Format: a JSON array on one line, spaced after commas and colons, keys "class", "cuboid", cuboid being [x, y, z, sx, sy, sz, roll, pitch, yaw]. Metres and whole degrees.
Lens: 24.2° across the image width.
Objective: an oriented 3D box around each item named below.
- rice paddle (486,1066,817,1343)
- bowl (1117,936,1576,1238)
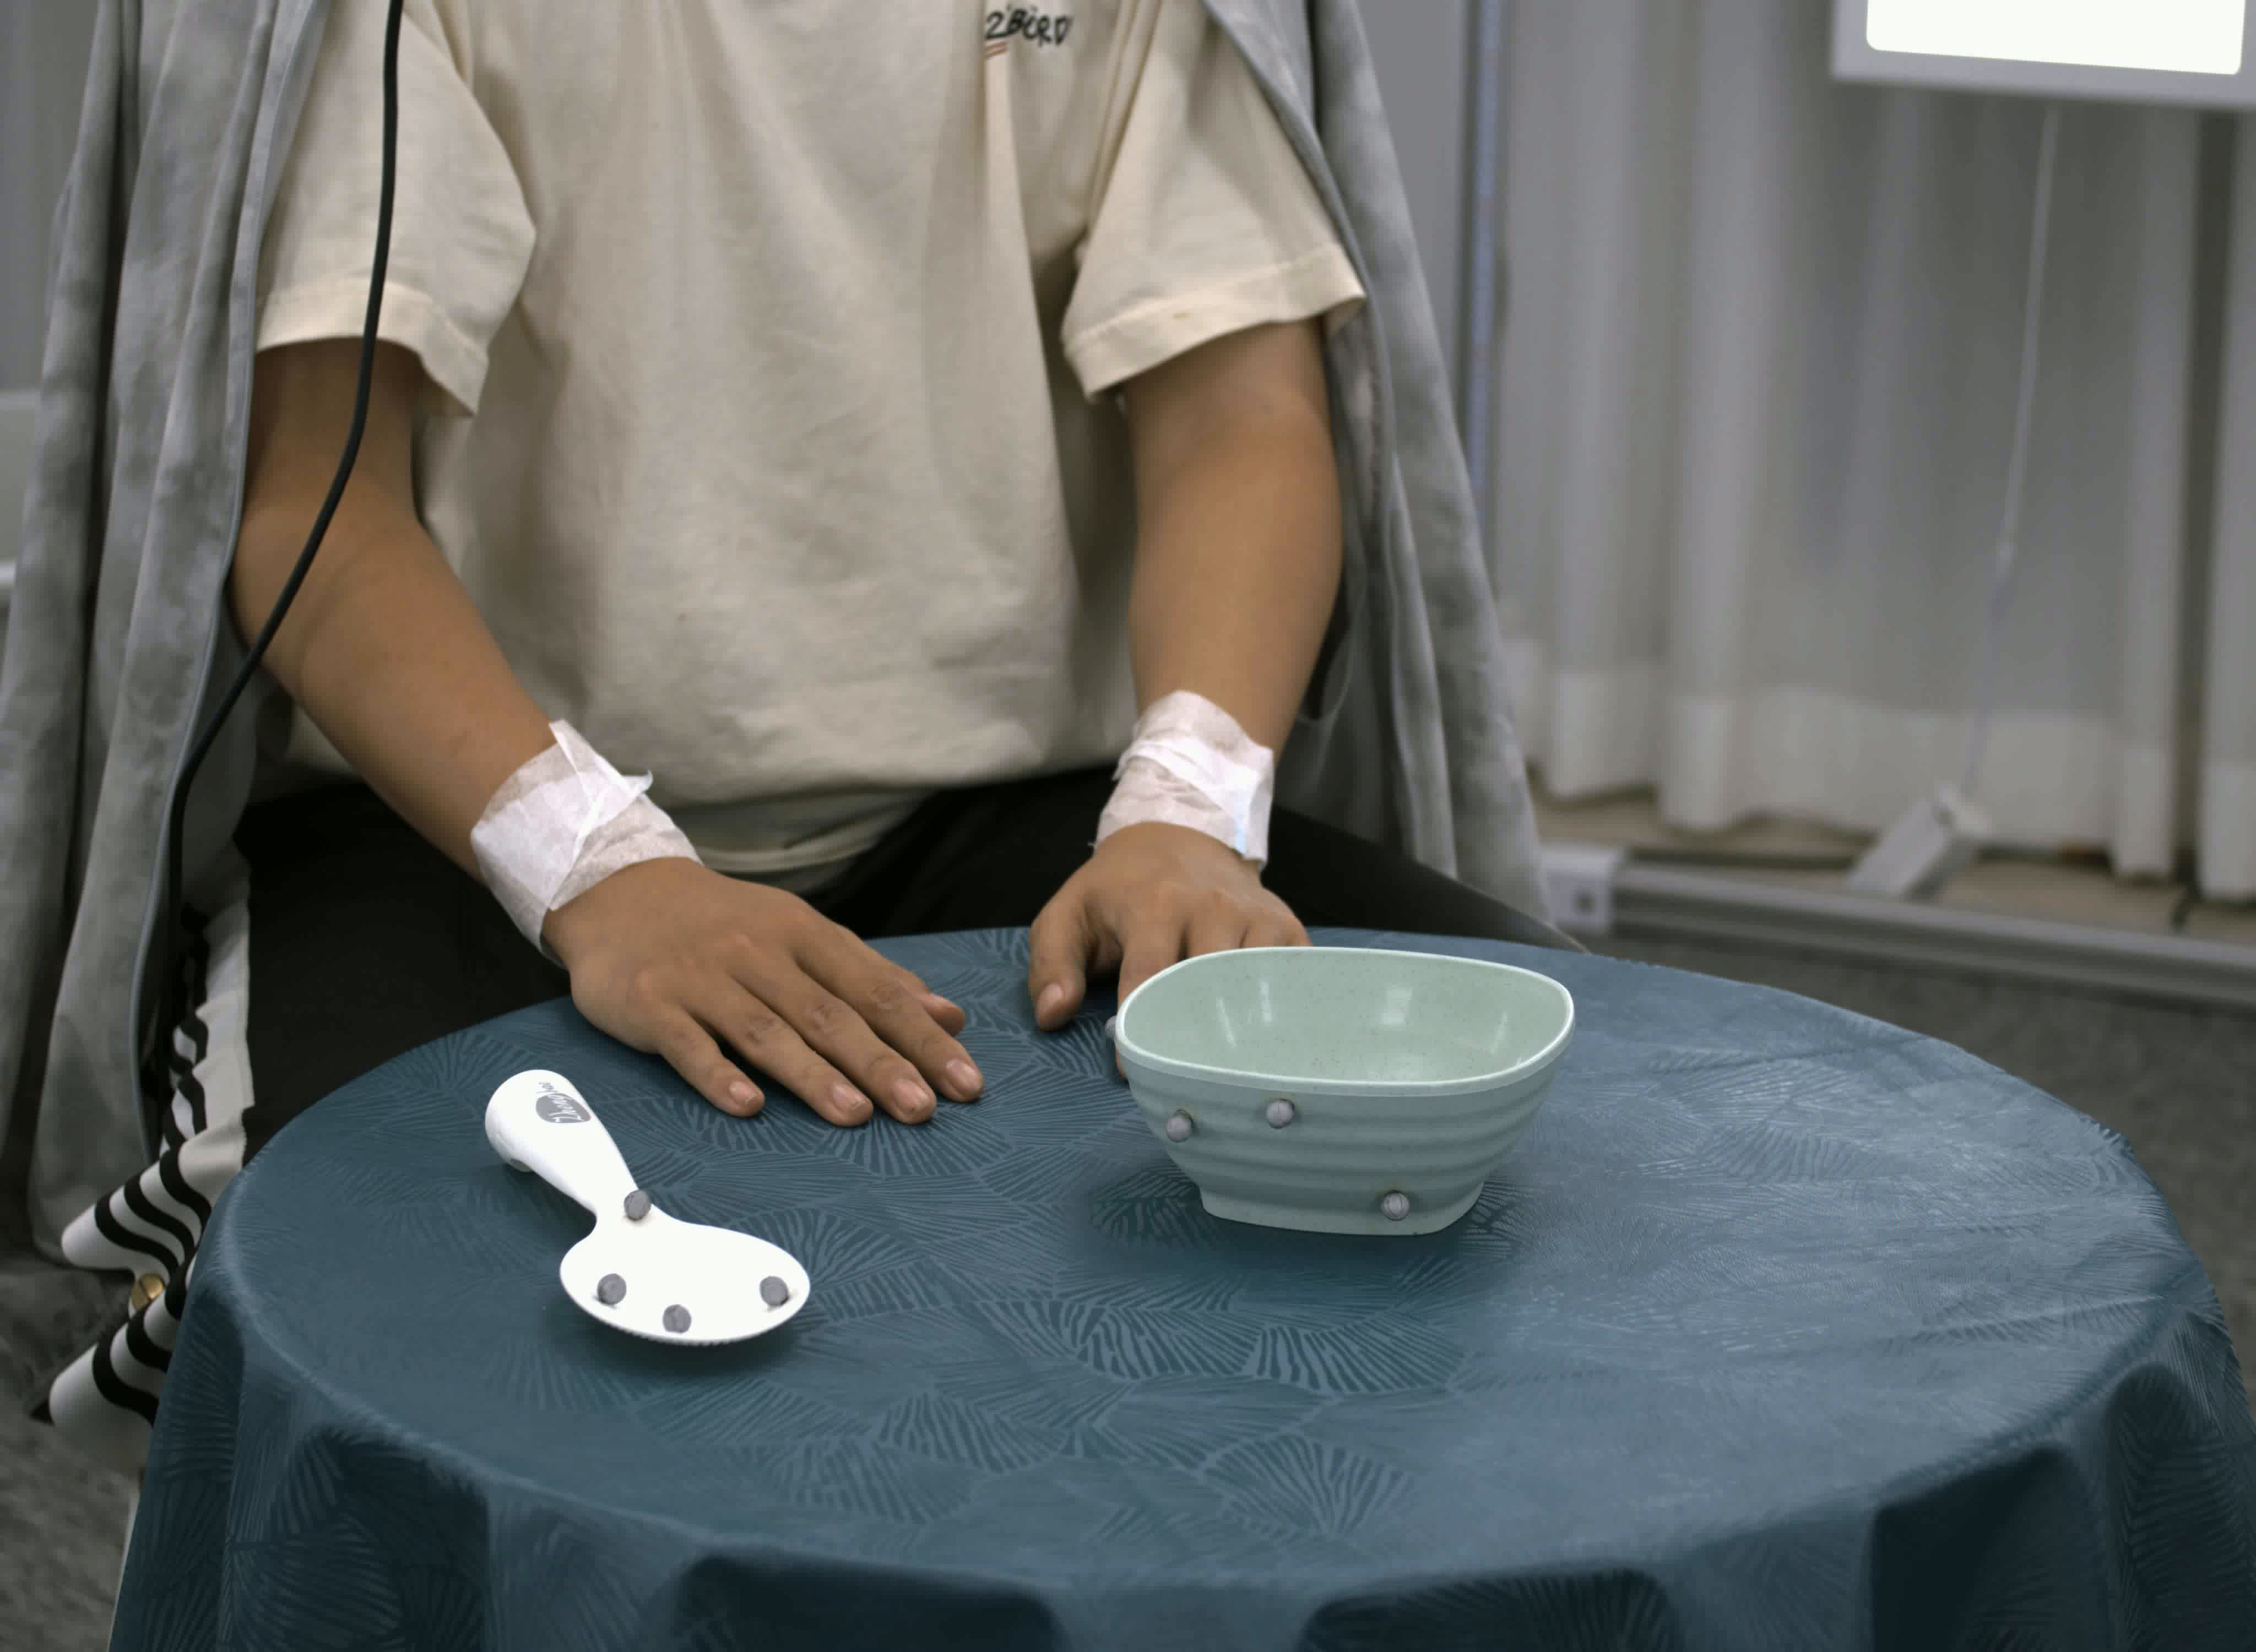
[{"class": "rice paddle", "cuboid": [-0.147, 0.114, 1.557, 0.069, 0.029, 0.203, -7, 17, -21]}, {"class": "bowl", "cuboid": [0.068, 0.084, 1.623, 0.151, 0.059, 0.150, 0, 18, 1]}]
